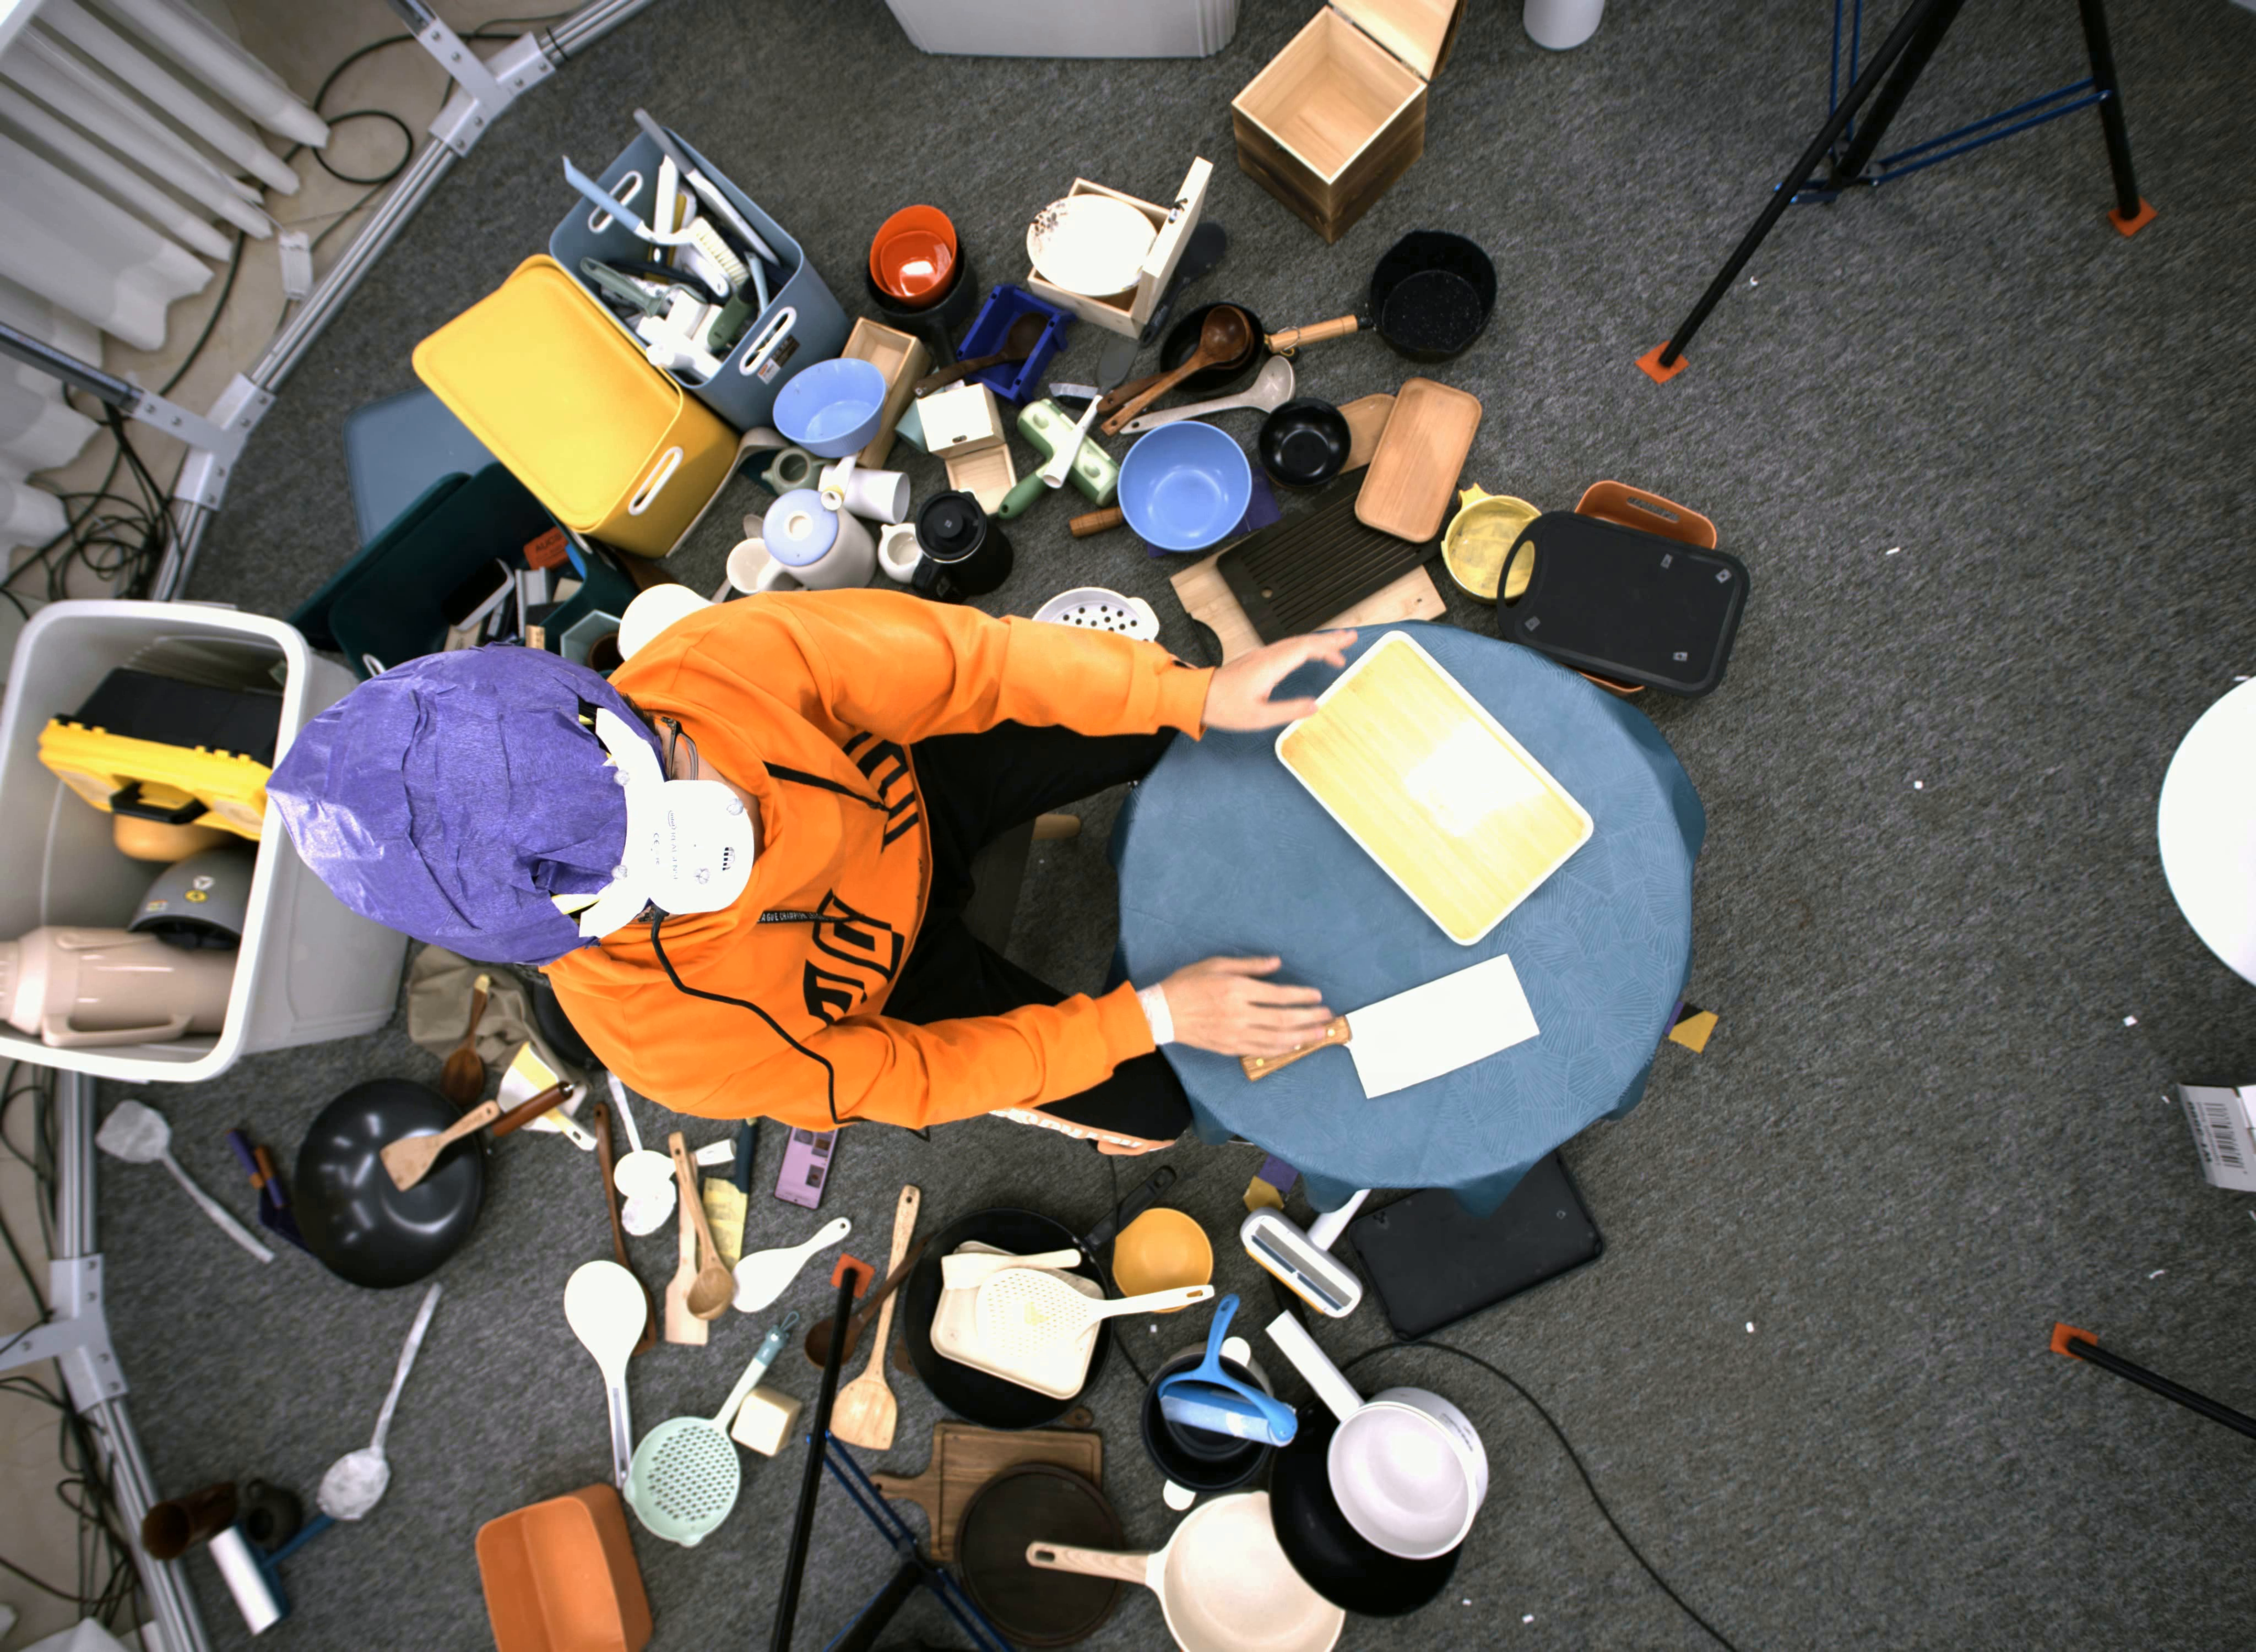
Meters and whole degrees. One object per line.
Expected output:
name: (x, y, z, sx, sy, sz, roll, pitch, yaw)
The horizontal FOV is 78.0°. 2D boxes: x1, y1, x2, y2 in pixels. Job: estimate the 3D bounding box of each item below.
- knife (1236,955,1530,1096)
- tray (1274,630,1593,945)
knife: (0.268, 0.226, 1.444, 0.307, 0.021, 0.092, -22, 85, 6)
tray: (0.318, -0.043, 1.444, 0.192, 0.027, 0.299, -44, 81, 6)
